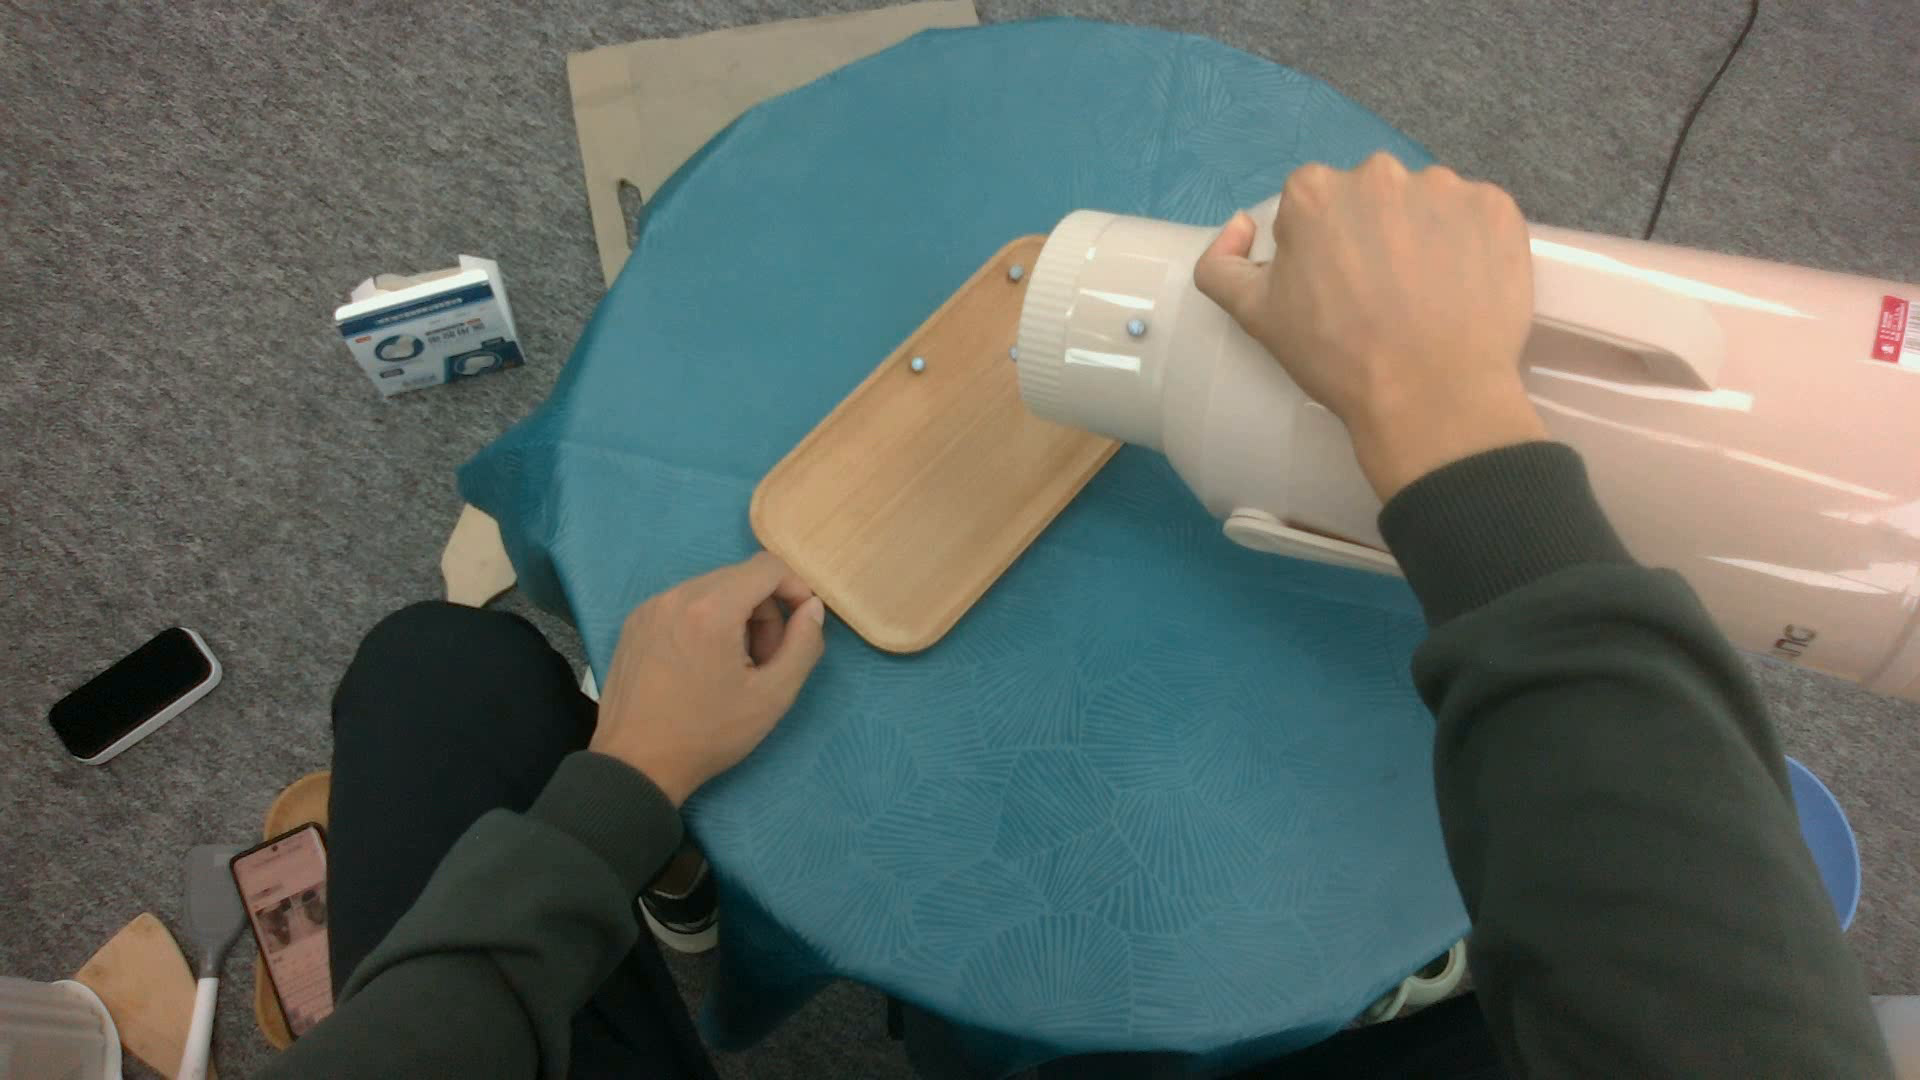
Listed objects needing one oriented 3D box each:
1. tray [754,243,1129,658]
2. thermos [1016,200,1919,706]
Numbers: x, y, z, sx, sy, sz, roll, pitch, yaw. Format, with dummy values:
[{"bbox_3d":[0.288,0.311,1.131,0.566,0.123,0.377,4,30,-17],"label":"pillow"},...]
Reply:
[{"bbox_3d":[0.008,-0.054,0.765,0.130,0.023,0.251,41,73,10],"label":"tray"},{"bbox_3d":[0.224,-0.062,0.605,0.406,0.207,0.175,17,77,23],"label":"thermos"}]
